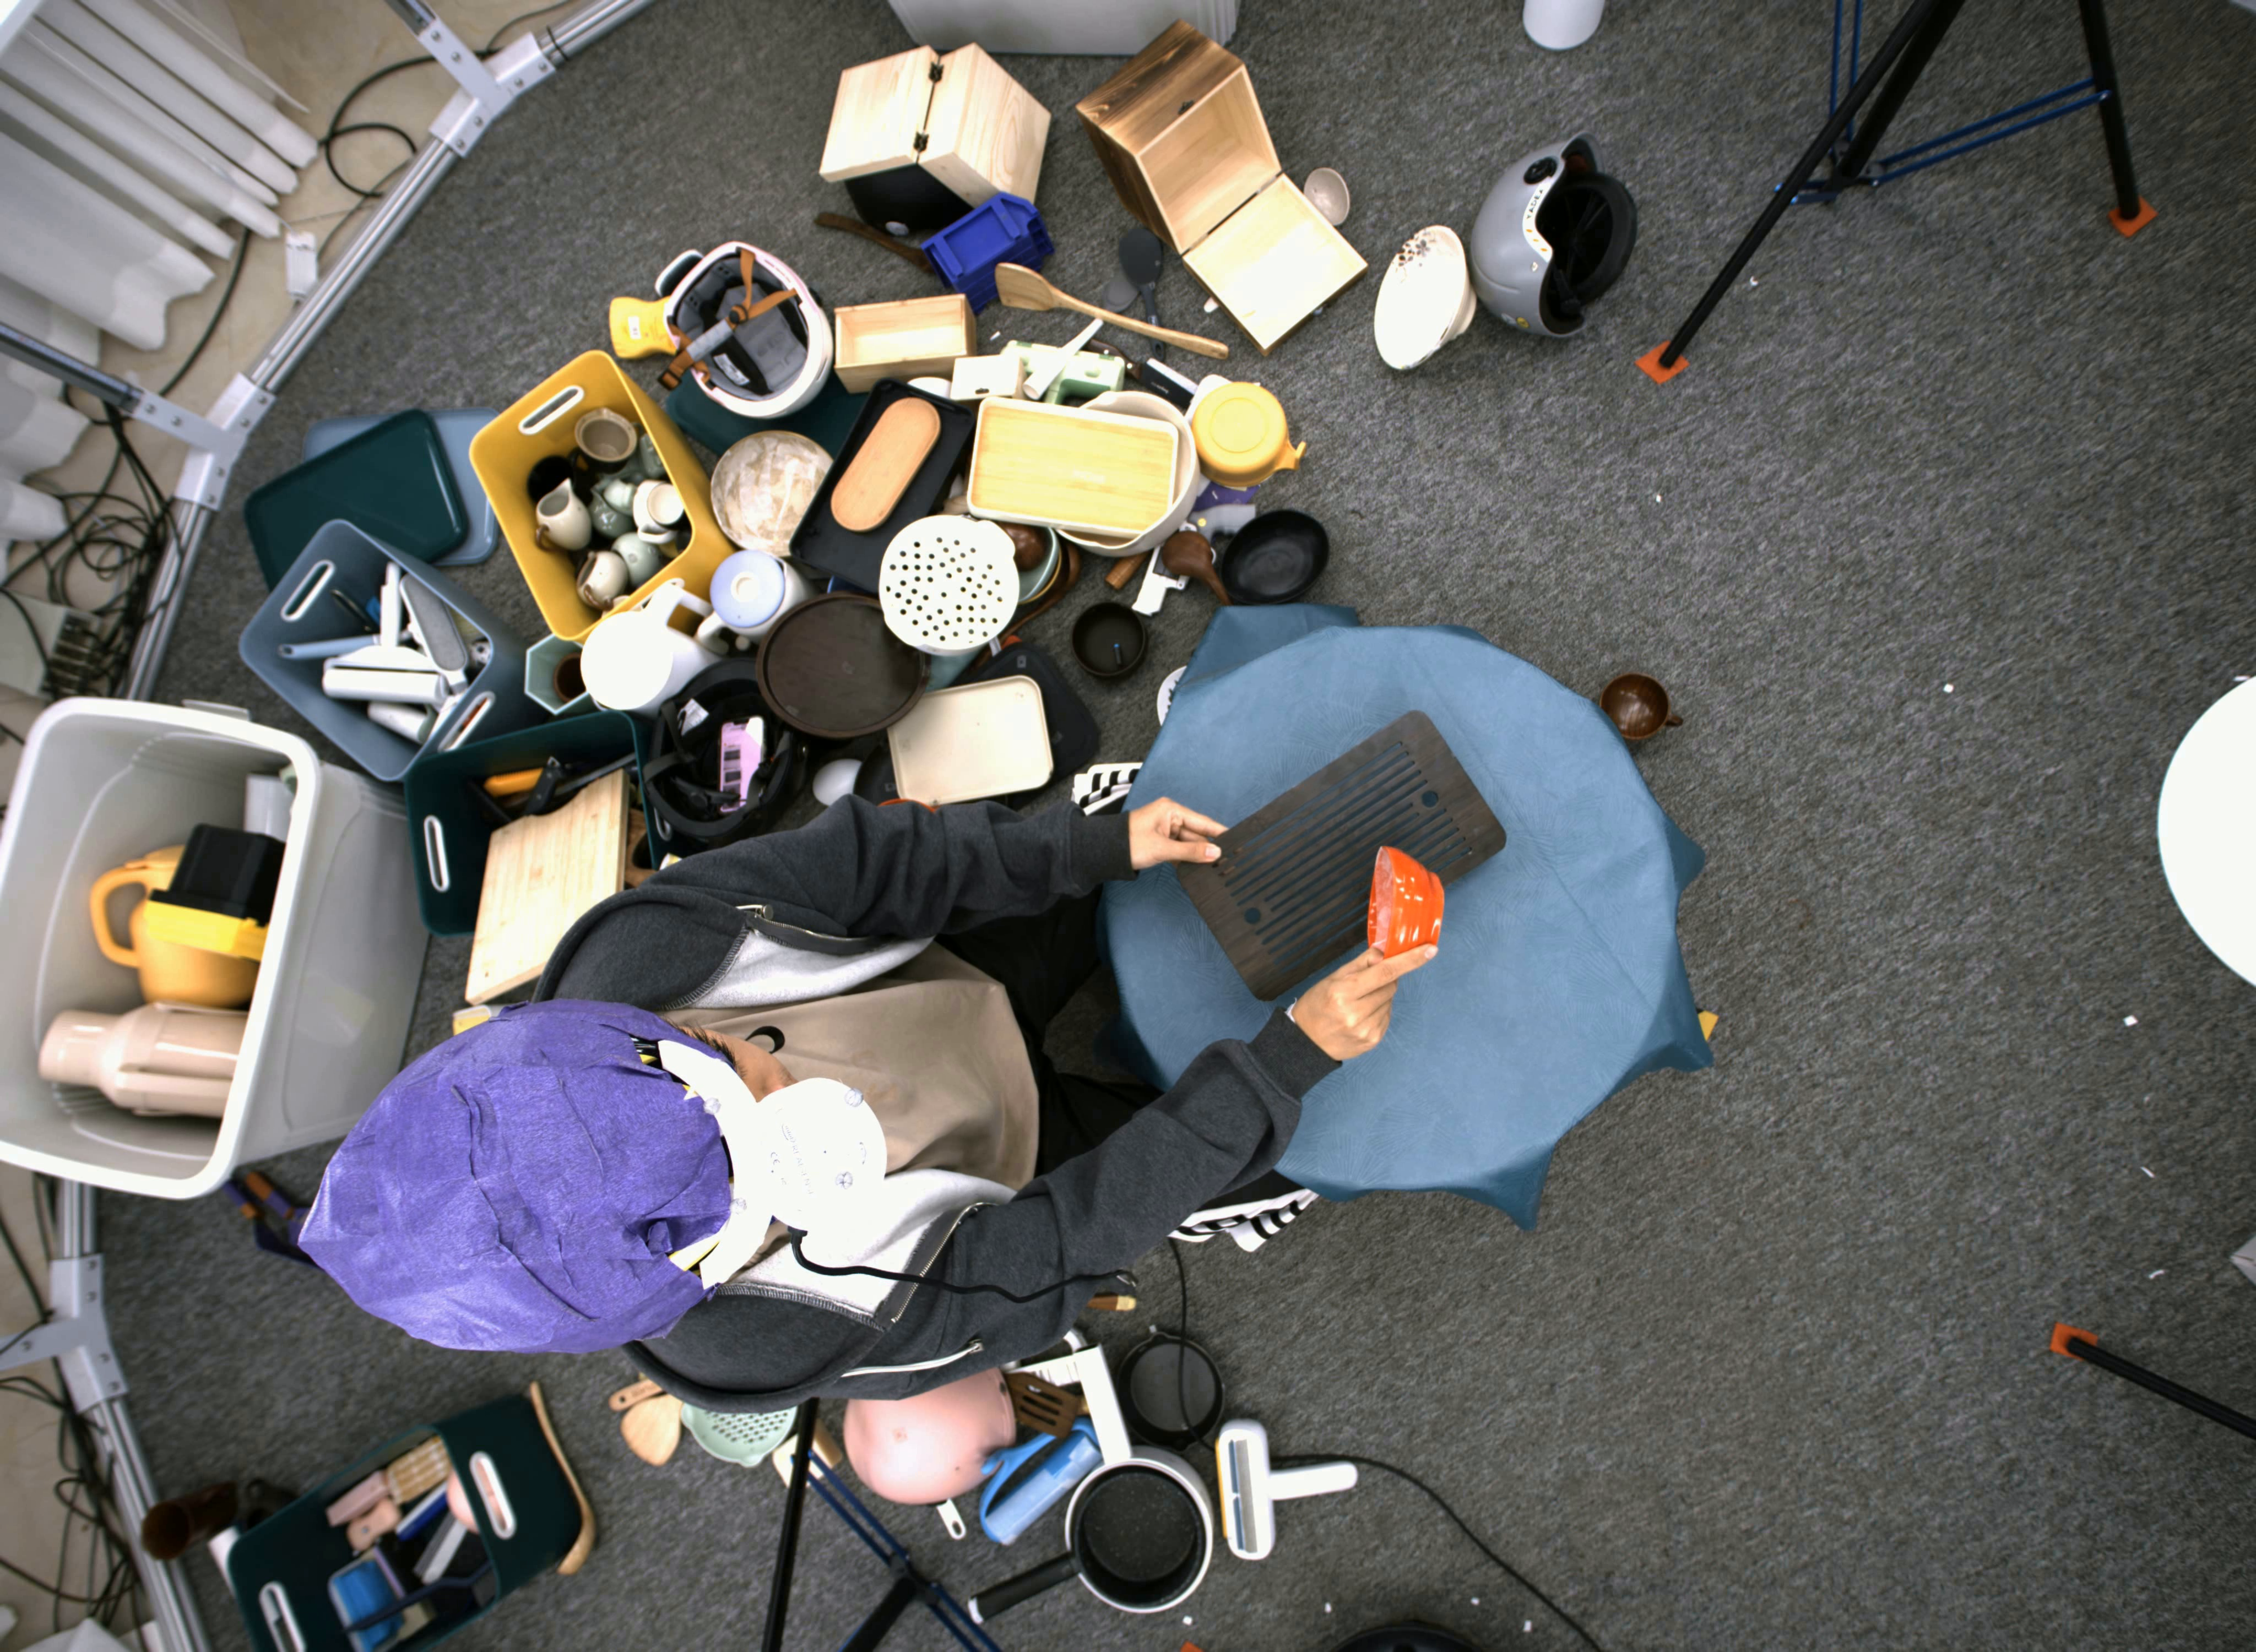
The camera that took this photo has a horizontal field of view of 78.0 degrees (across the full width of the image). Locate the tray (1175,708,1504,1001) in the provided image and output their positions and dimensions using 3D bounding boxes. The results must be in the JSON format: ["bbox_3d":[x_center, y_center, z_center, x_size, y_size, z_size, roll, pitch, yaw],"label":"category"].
[{"bbox_3d":[0.214,0.028,1.404,0.307,0.018,0.170,-33,88,3],"label":"tray"}]

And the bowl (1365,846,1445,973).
[{"bbox_3d":[0.253,0.076,1.256,0.051,0.119,0.118,5,86,-2],"label":"bowl"}]
